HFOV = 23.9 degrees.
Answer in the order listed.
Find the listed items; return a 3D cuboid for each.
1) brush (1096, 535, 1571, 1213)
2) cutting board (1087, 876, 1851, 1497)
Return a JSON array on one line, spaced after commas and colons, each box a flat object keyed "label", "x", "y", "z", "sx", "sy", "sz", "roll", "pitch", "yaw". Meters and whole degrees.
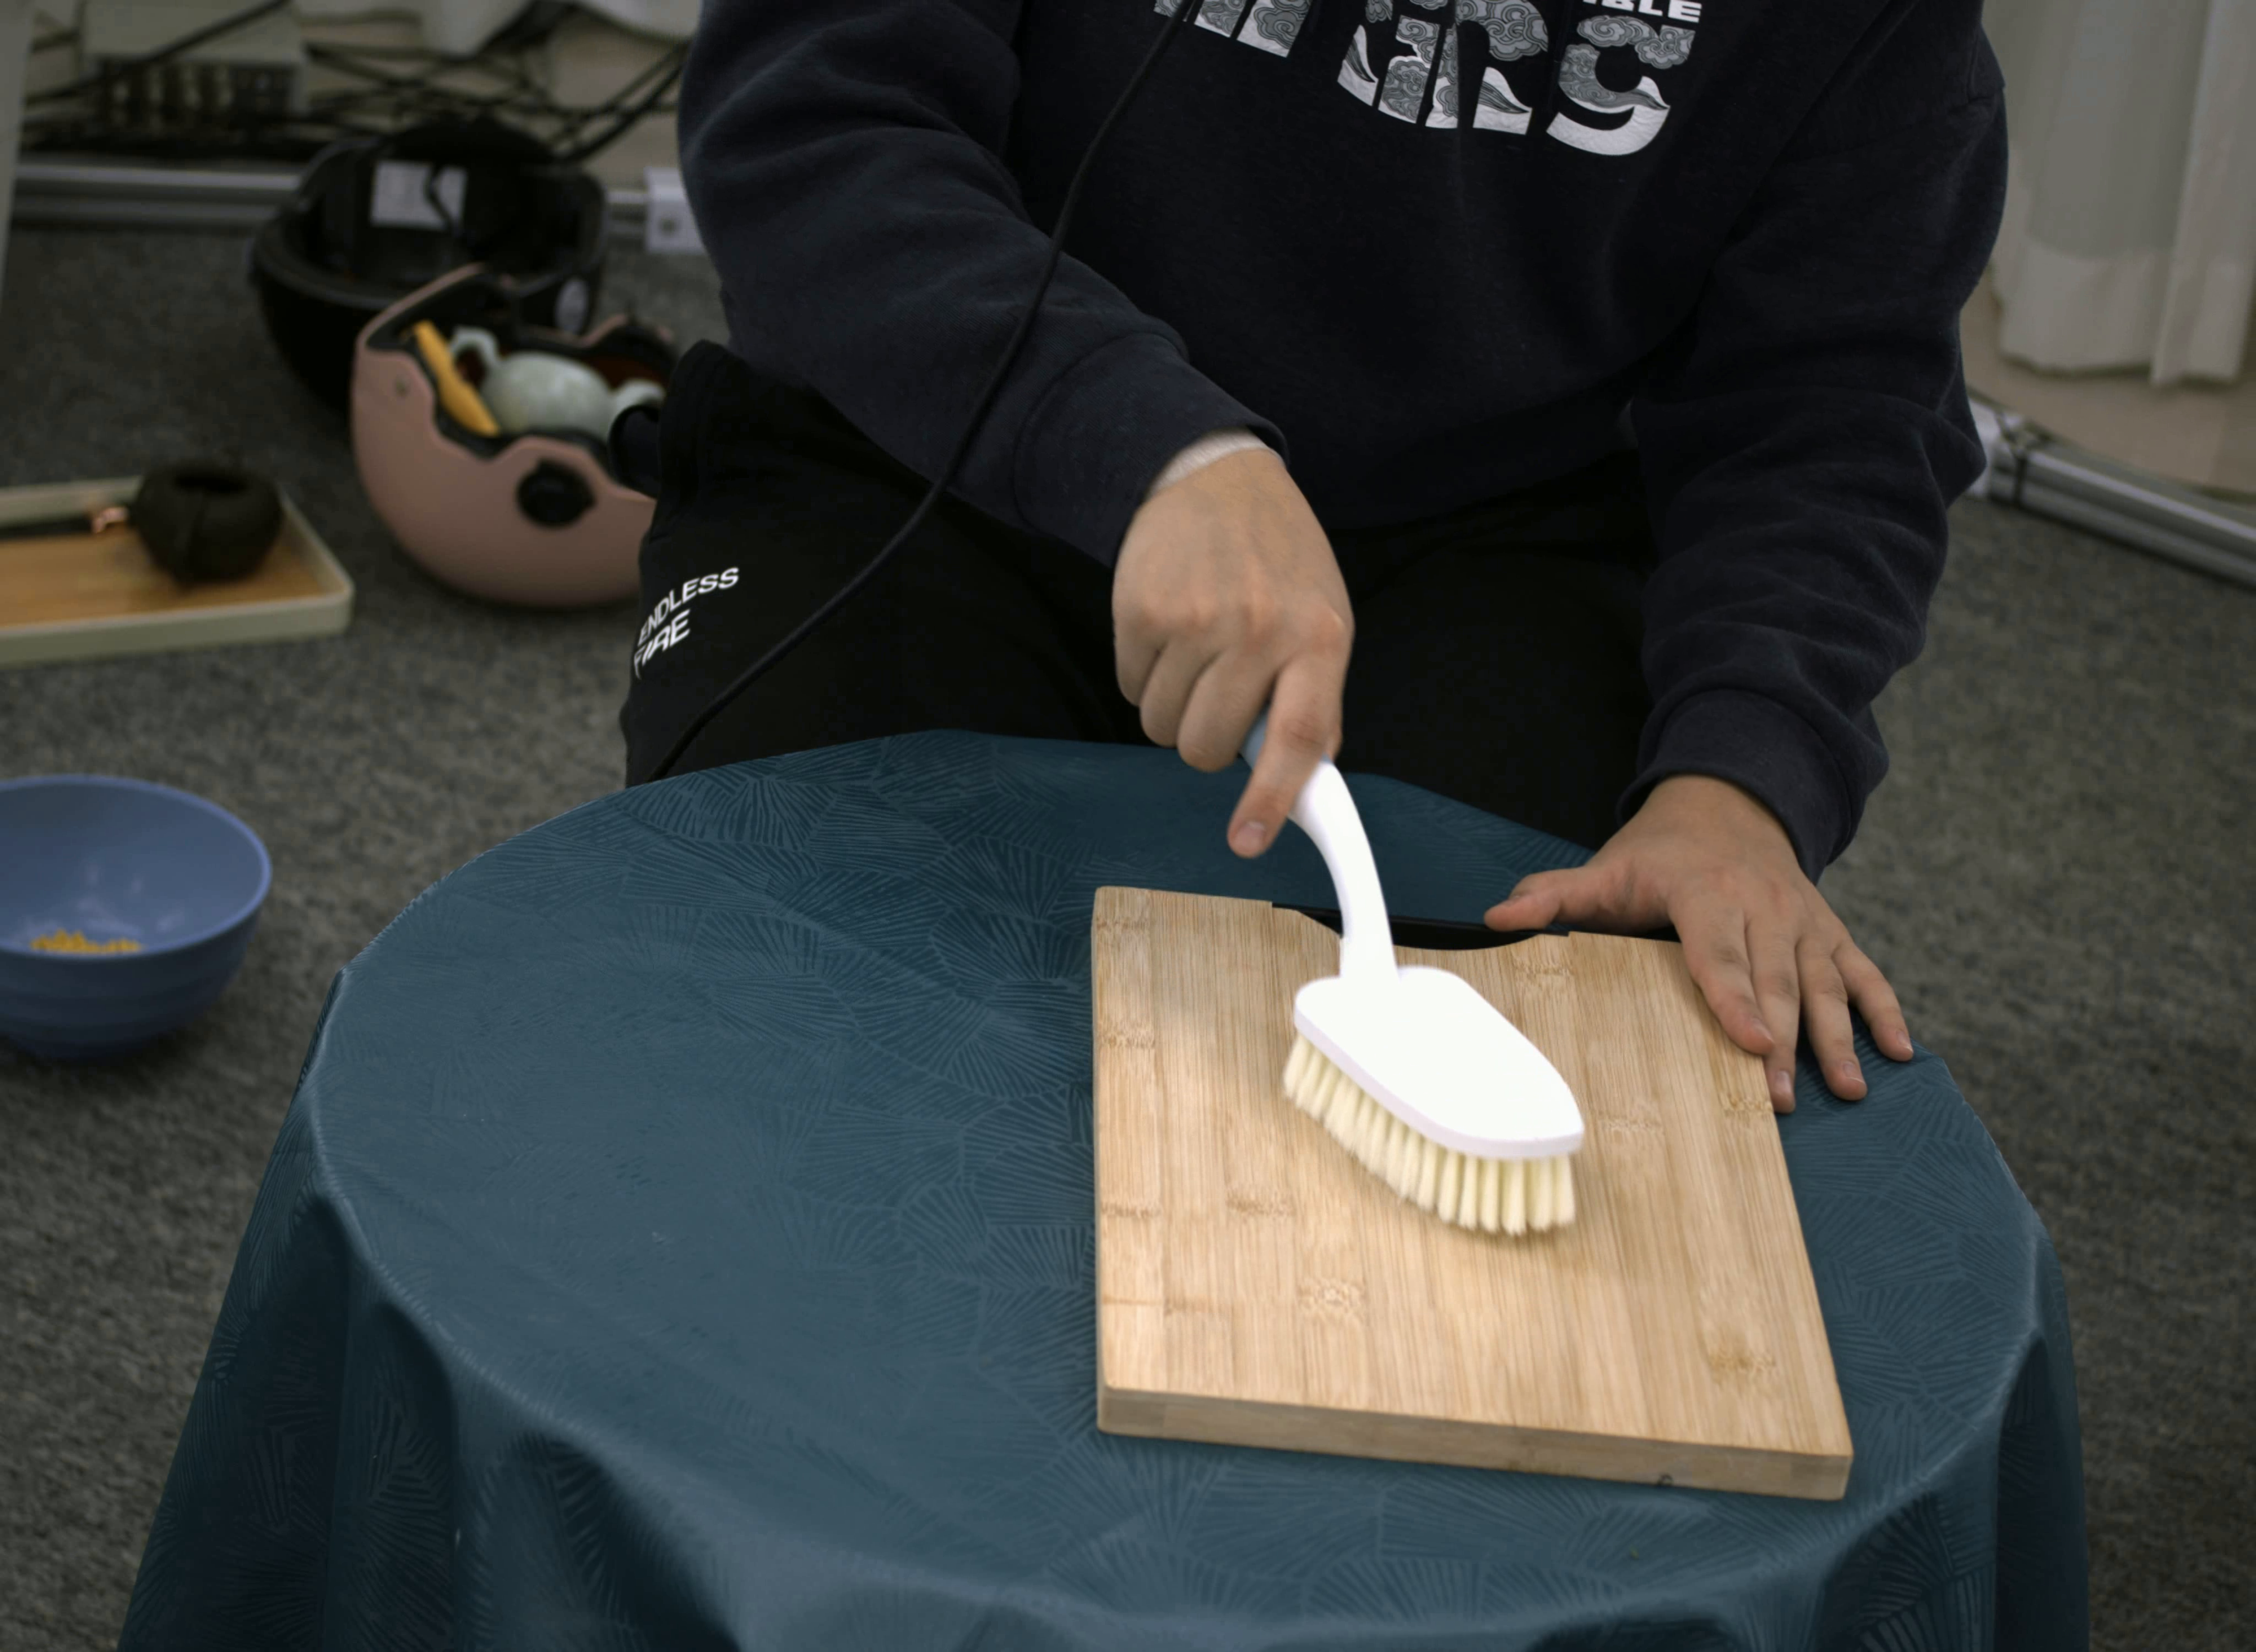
[{"label": "brush", "x": 0.066, "y": 0.024, "z": 1.878, "sx": 0.082, "sy": 0.084, "sz": 0.328, "roll": 26, "pitch": 22, "yaw": -48}, {"label": "cutting board", "x": 0.108, "y": 0.116, "z": 1.829, "sx": 0.250, "sy": 0.023, "sz": 0.351, "roll": 6, "pitch": 27, "yaw": -4}]
